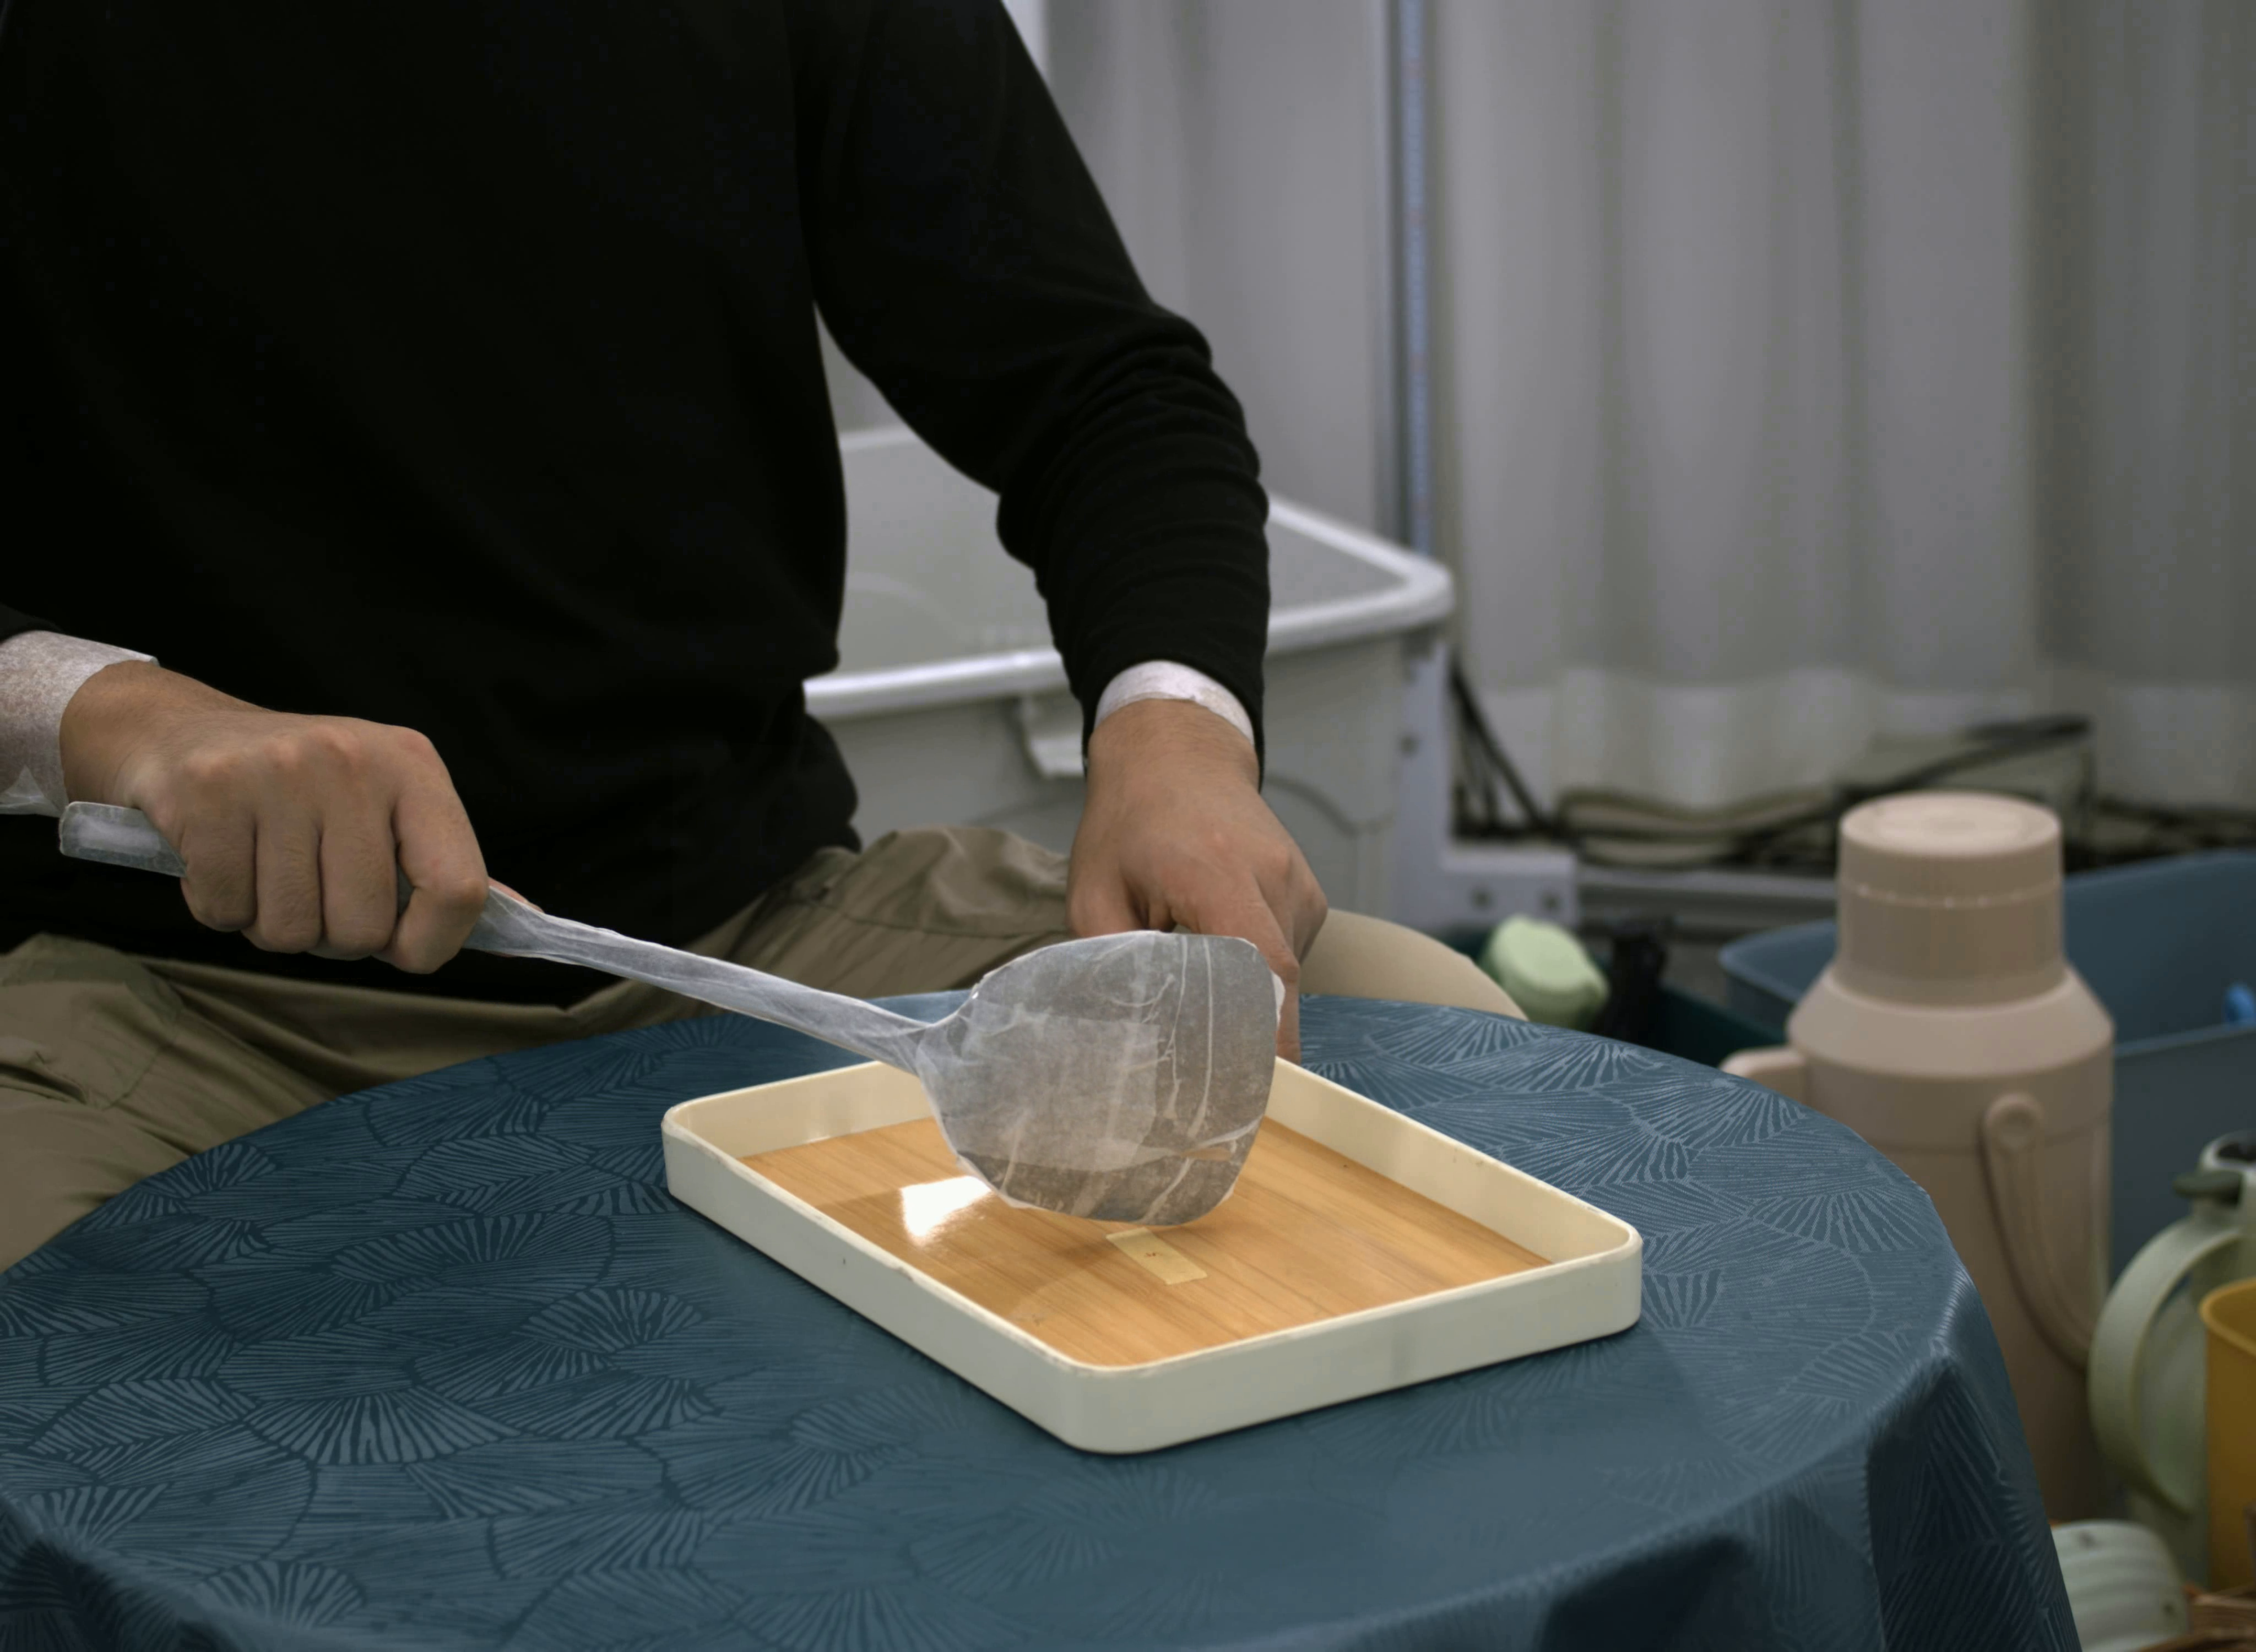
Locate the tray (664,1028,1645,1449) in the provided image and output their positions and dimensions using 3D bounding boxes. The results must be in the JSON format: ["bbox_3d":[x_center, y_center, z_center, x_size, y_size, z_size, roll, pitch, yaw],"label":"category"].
[{"bbox_3d":[0.002,0.117,1.653,0.191,0.027,0.302,-11,17,-27],"label":"tray"}]

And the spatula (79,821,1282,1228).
[{"bbox_3d":[-0.134,0.043,1.644,0.364,0.098,0.045,15,21,5],"label":"spatula"}]
